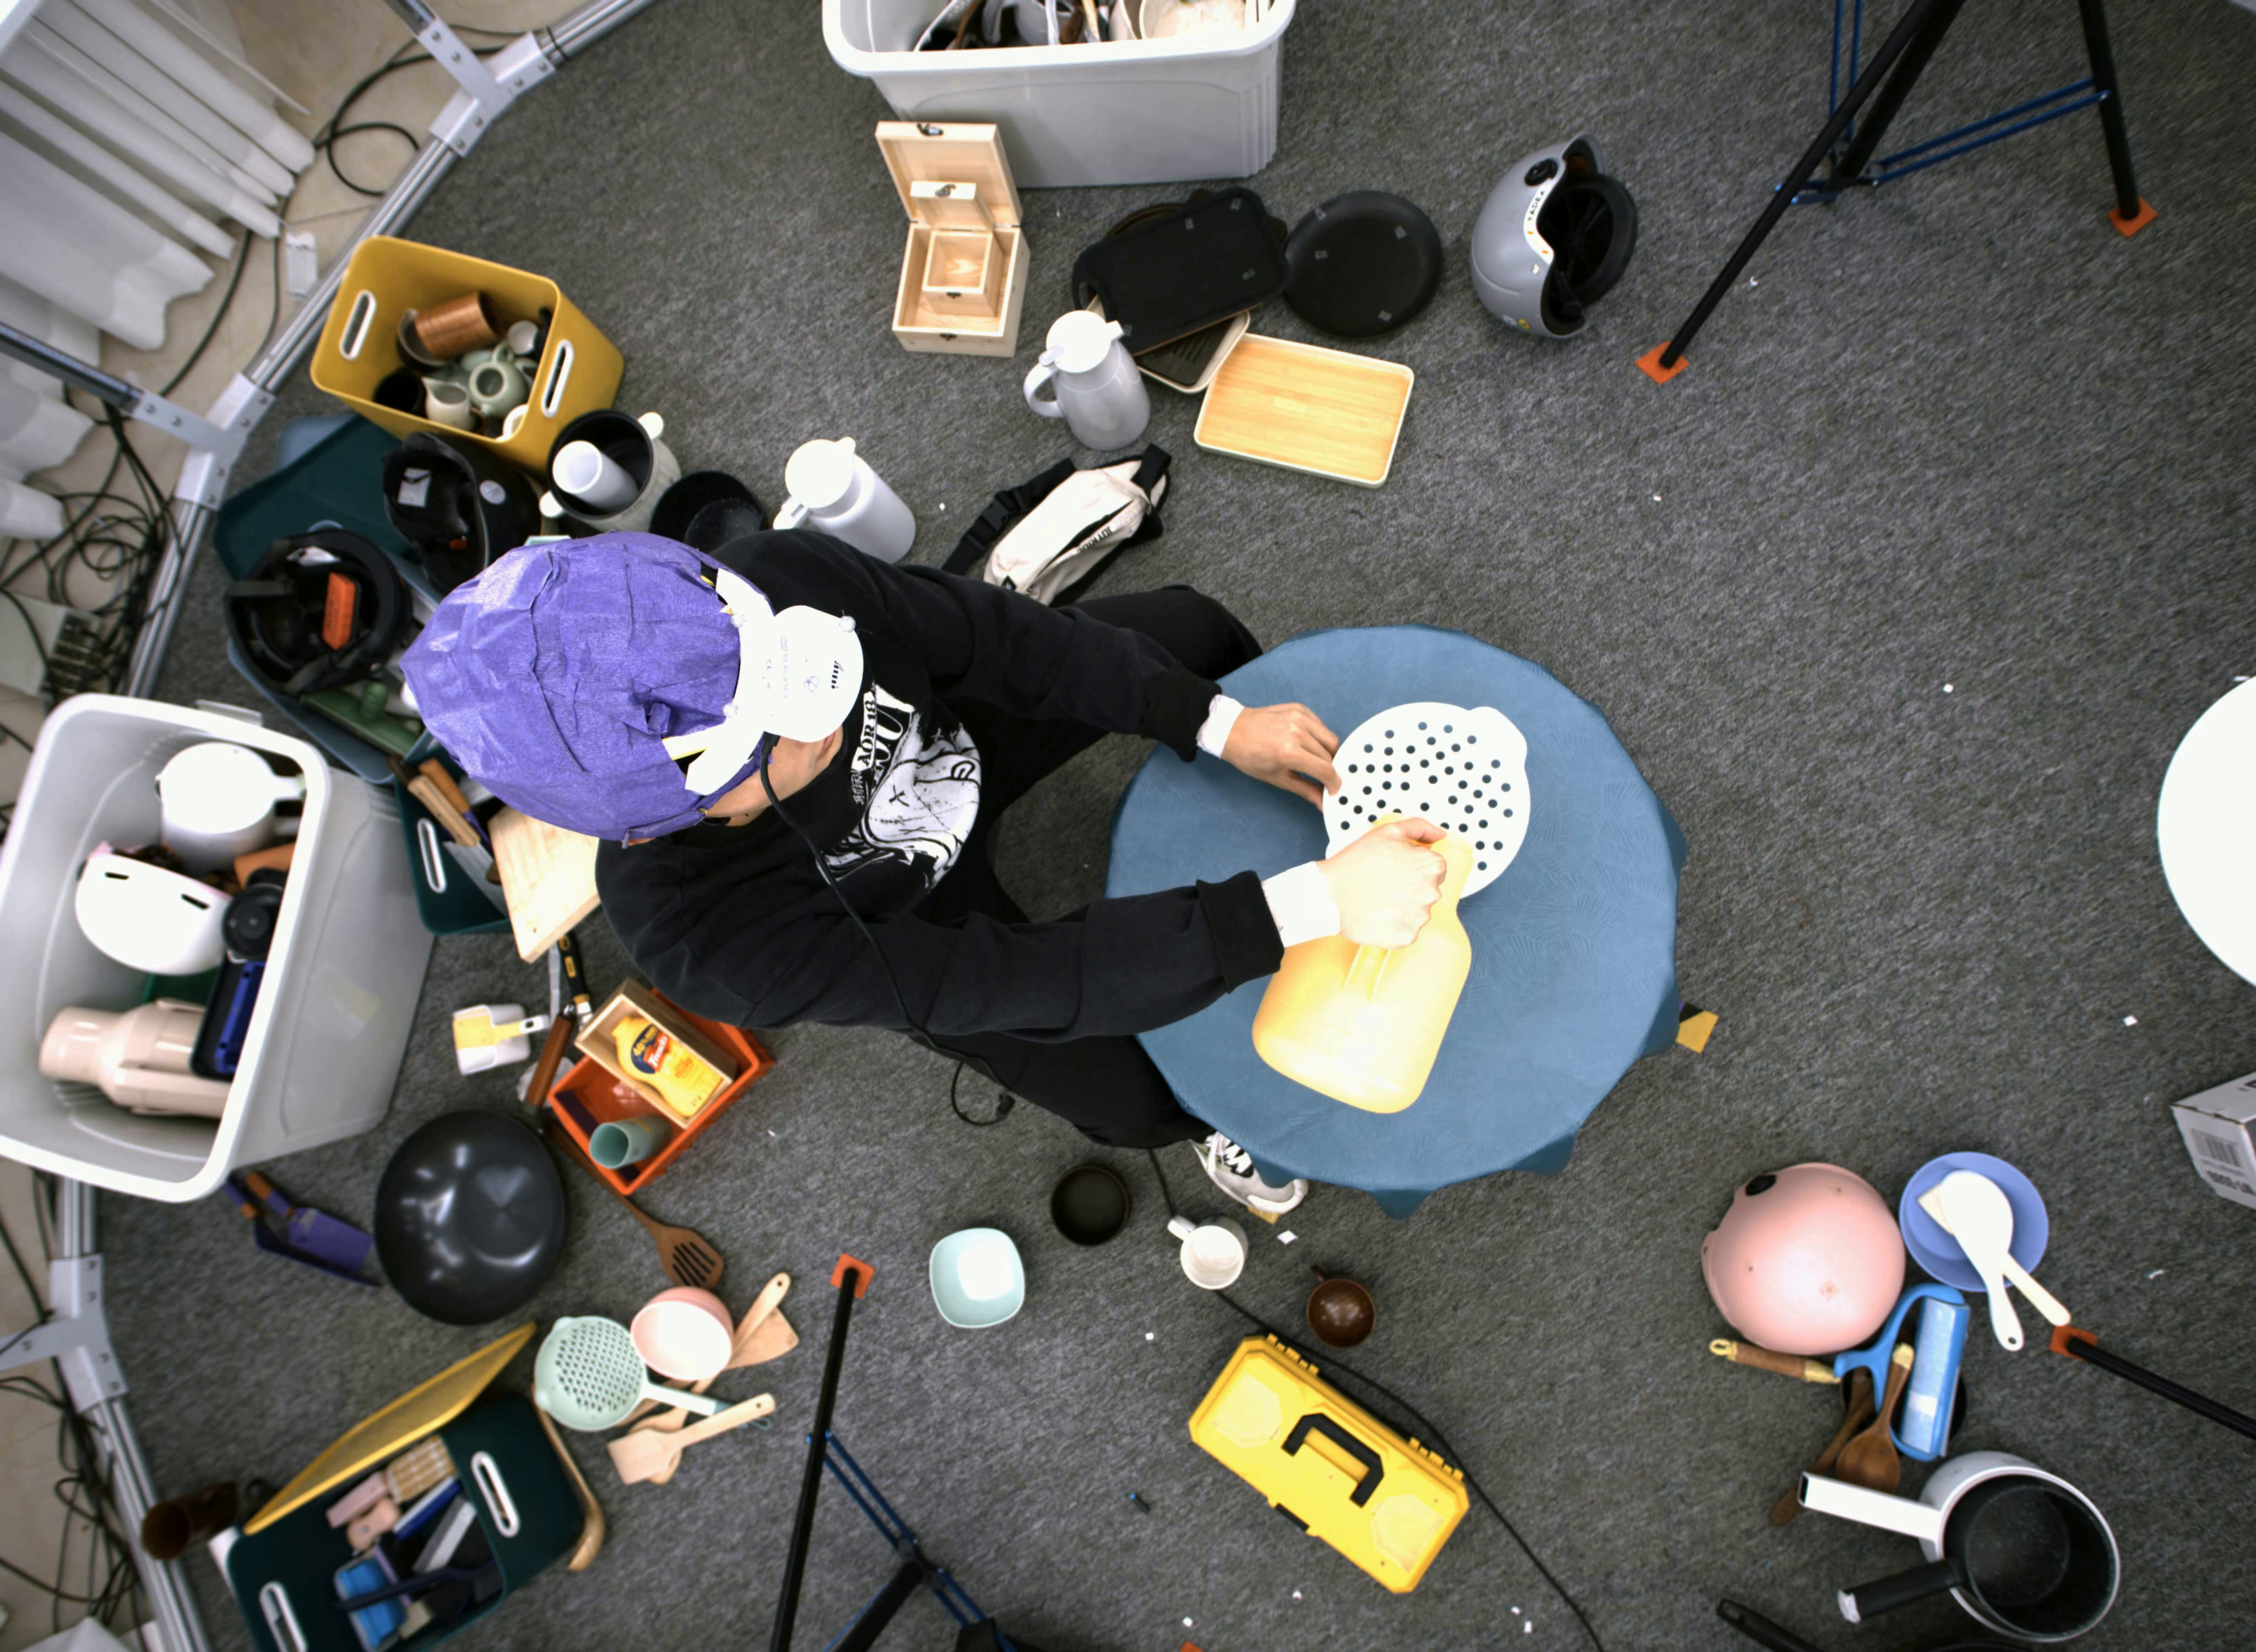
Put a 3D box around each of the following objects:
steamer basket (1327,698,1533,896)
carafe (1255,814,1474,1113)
[{"bbox_3d":[0.304,-0.027,1.391,0.232,0.069,0.201,-44,81,6],"label":"steamer basket"},{"bbox_3d":[0.222,0.115,1.239,0.163,0.203,0.260,20,89,16],"label":"carafe"}]
